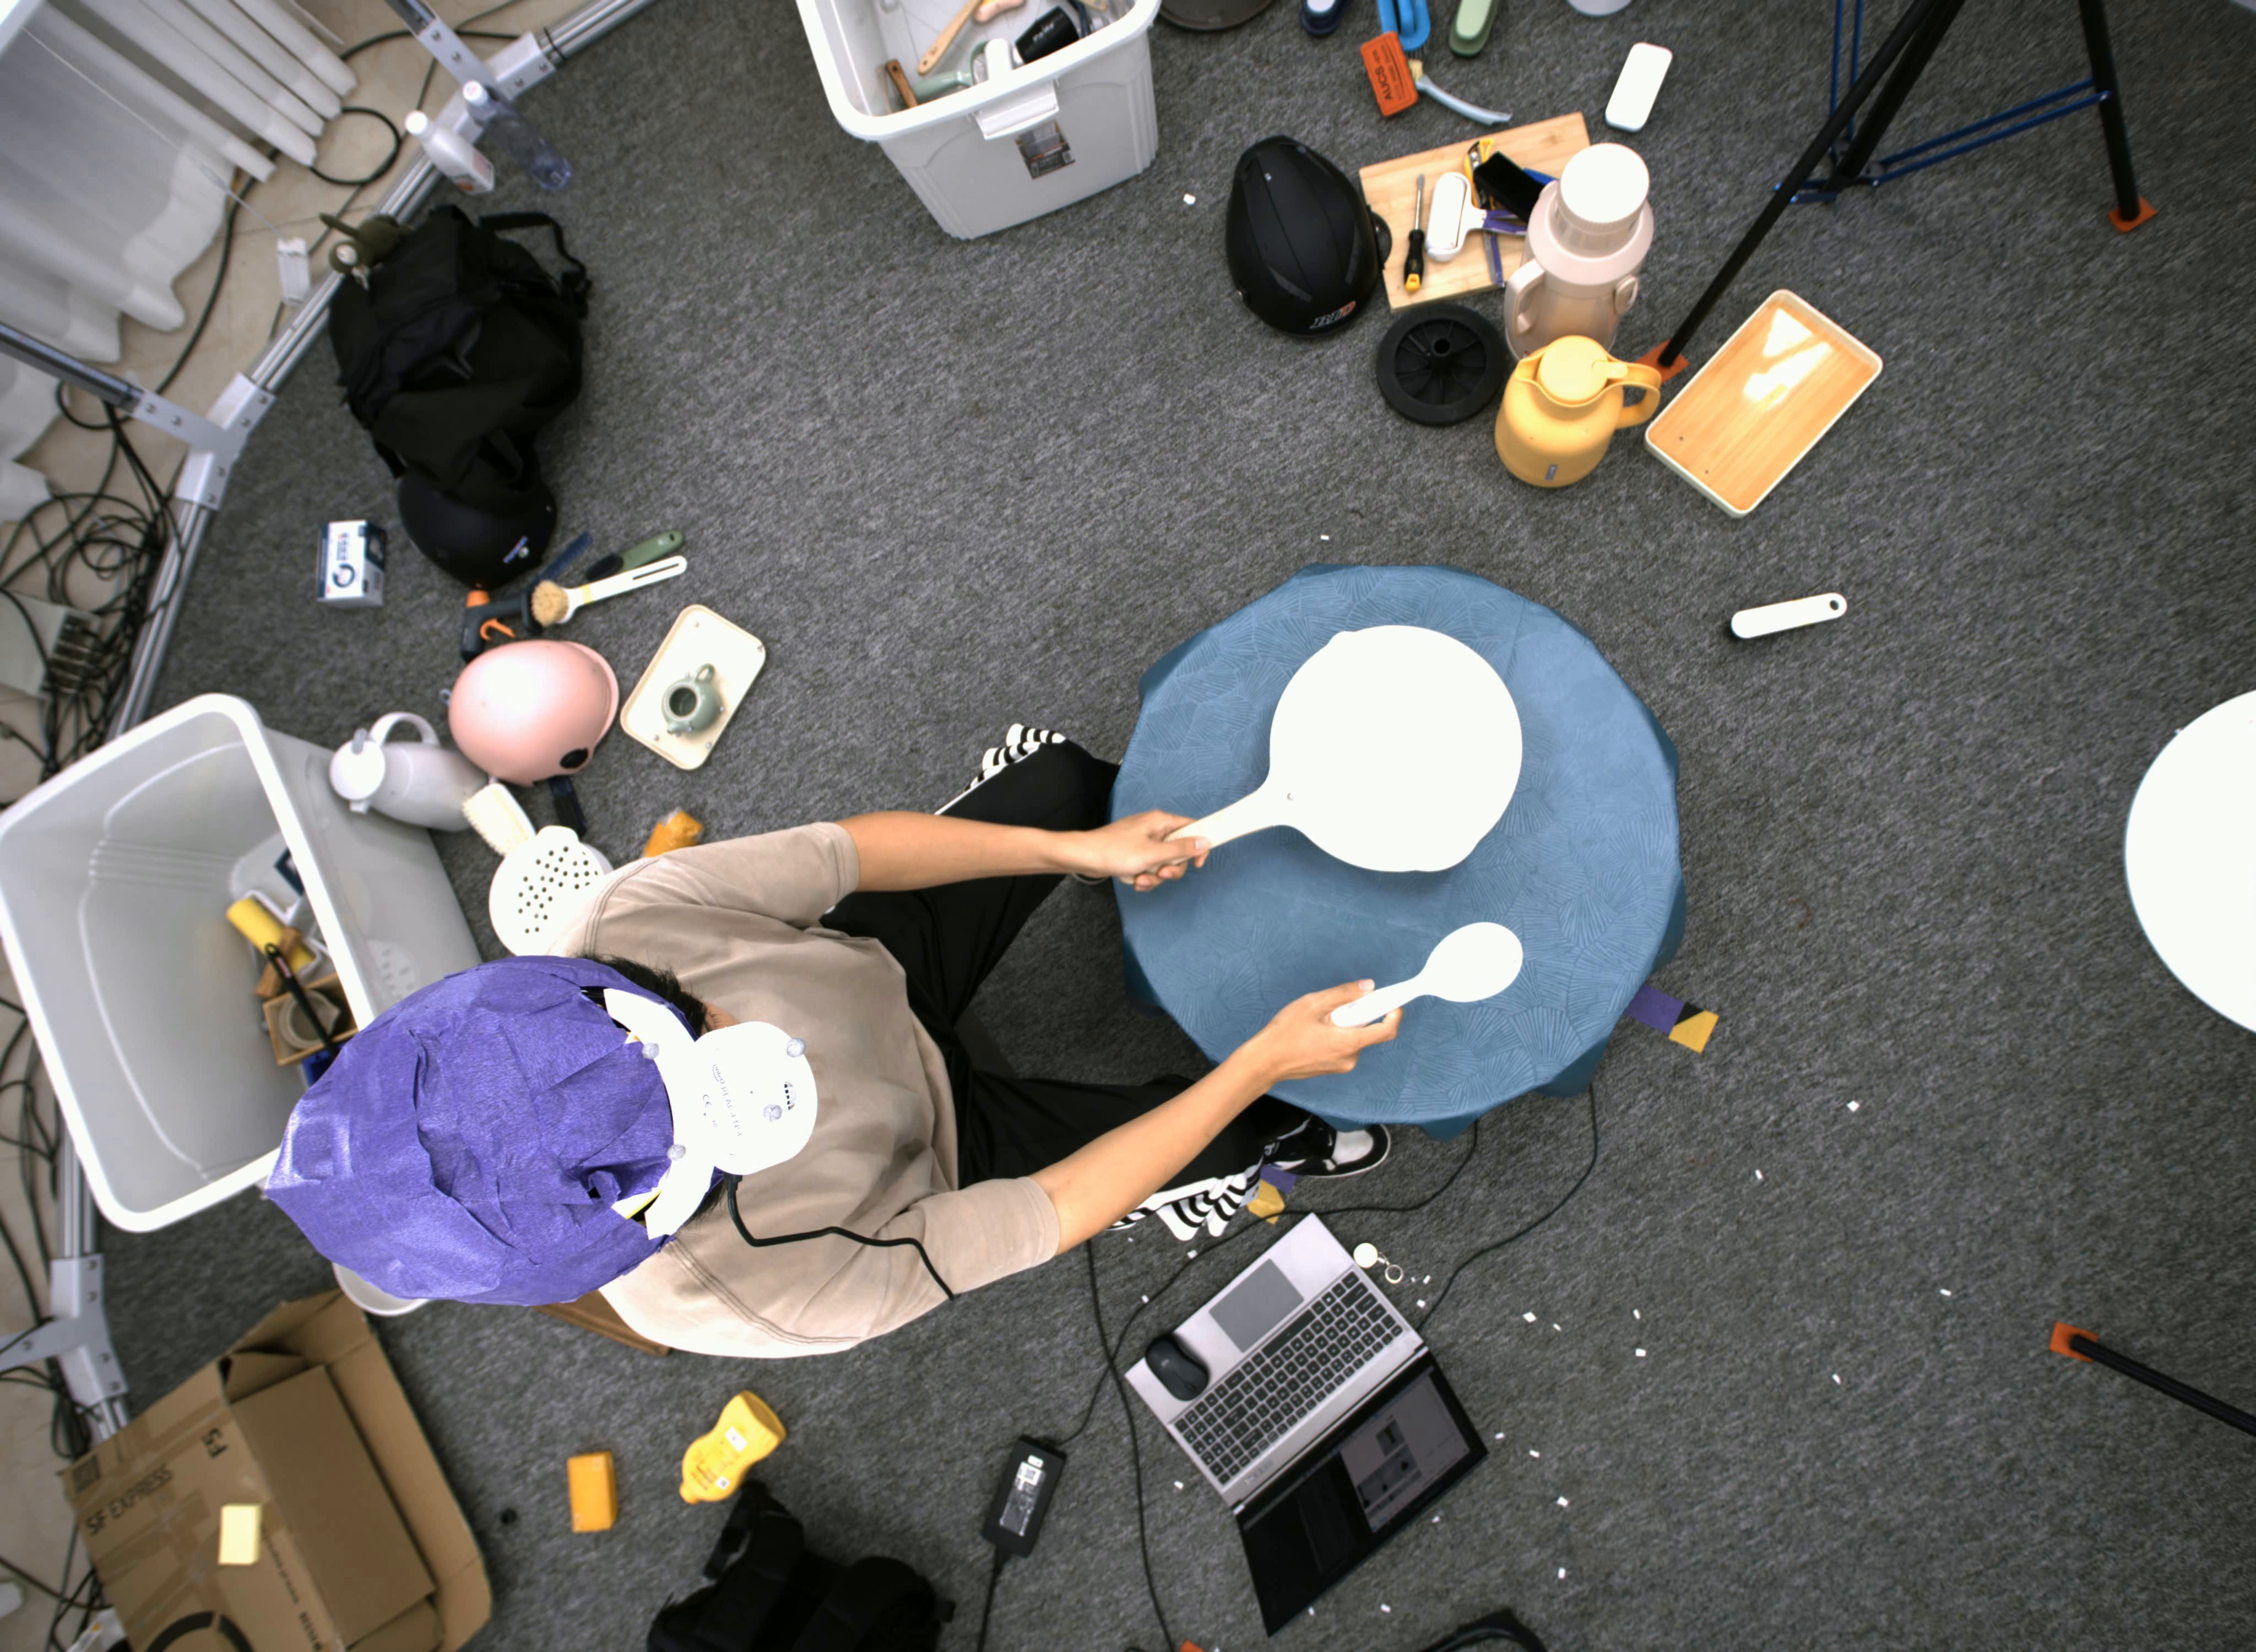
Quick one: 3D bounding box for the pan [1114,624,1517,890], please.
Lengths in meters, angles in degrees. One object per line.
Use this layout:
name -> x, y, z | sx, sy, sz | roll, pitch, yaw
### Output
pan -> 0.188, -0.039, 1.436 | 0.437, 0.102, 0.262 | -26, 84, 8

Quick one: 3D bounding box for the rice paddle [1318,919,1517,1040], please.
rice paddle -> 0.277, 0.149, 1.326 | 0.208, 0.029, 0.068 | -29, 71, 23
